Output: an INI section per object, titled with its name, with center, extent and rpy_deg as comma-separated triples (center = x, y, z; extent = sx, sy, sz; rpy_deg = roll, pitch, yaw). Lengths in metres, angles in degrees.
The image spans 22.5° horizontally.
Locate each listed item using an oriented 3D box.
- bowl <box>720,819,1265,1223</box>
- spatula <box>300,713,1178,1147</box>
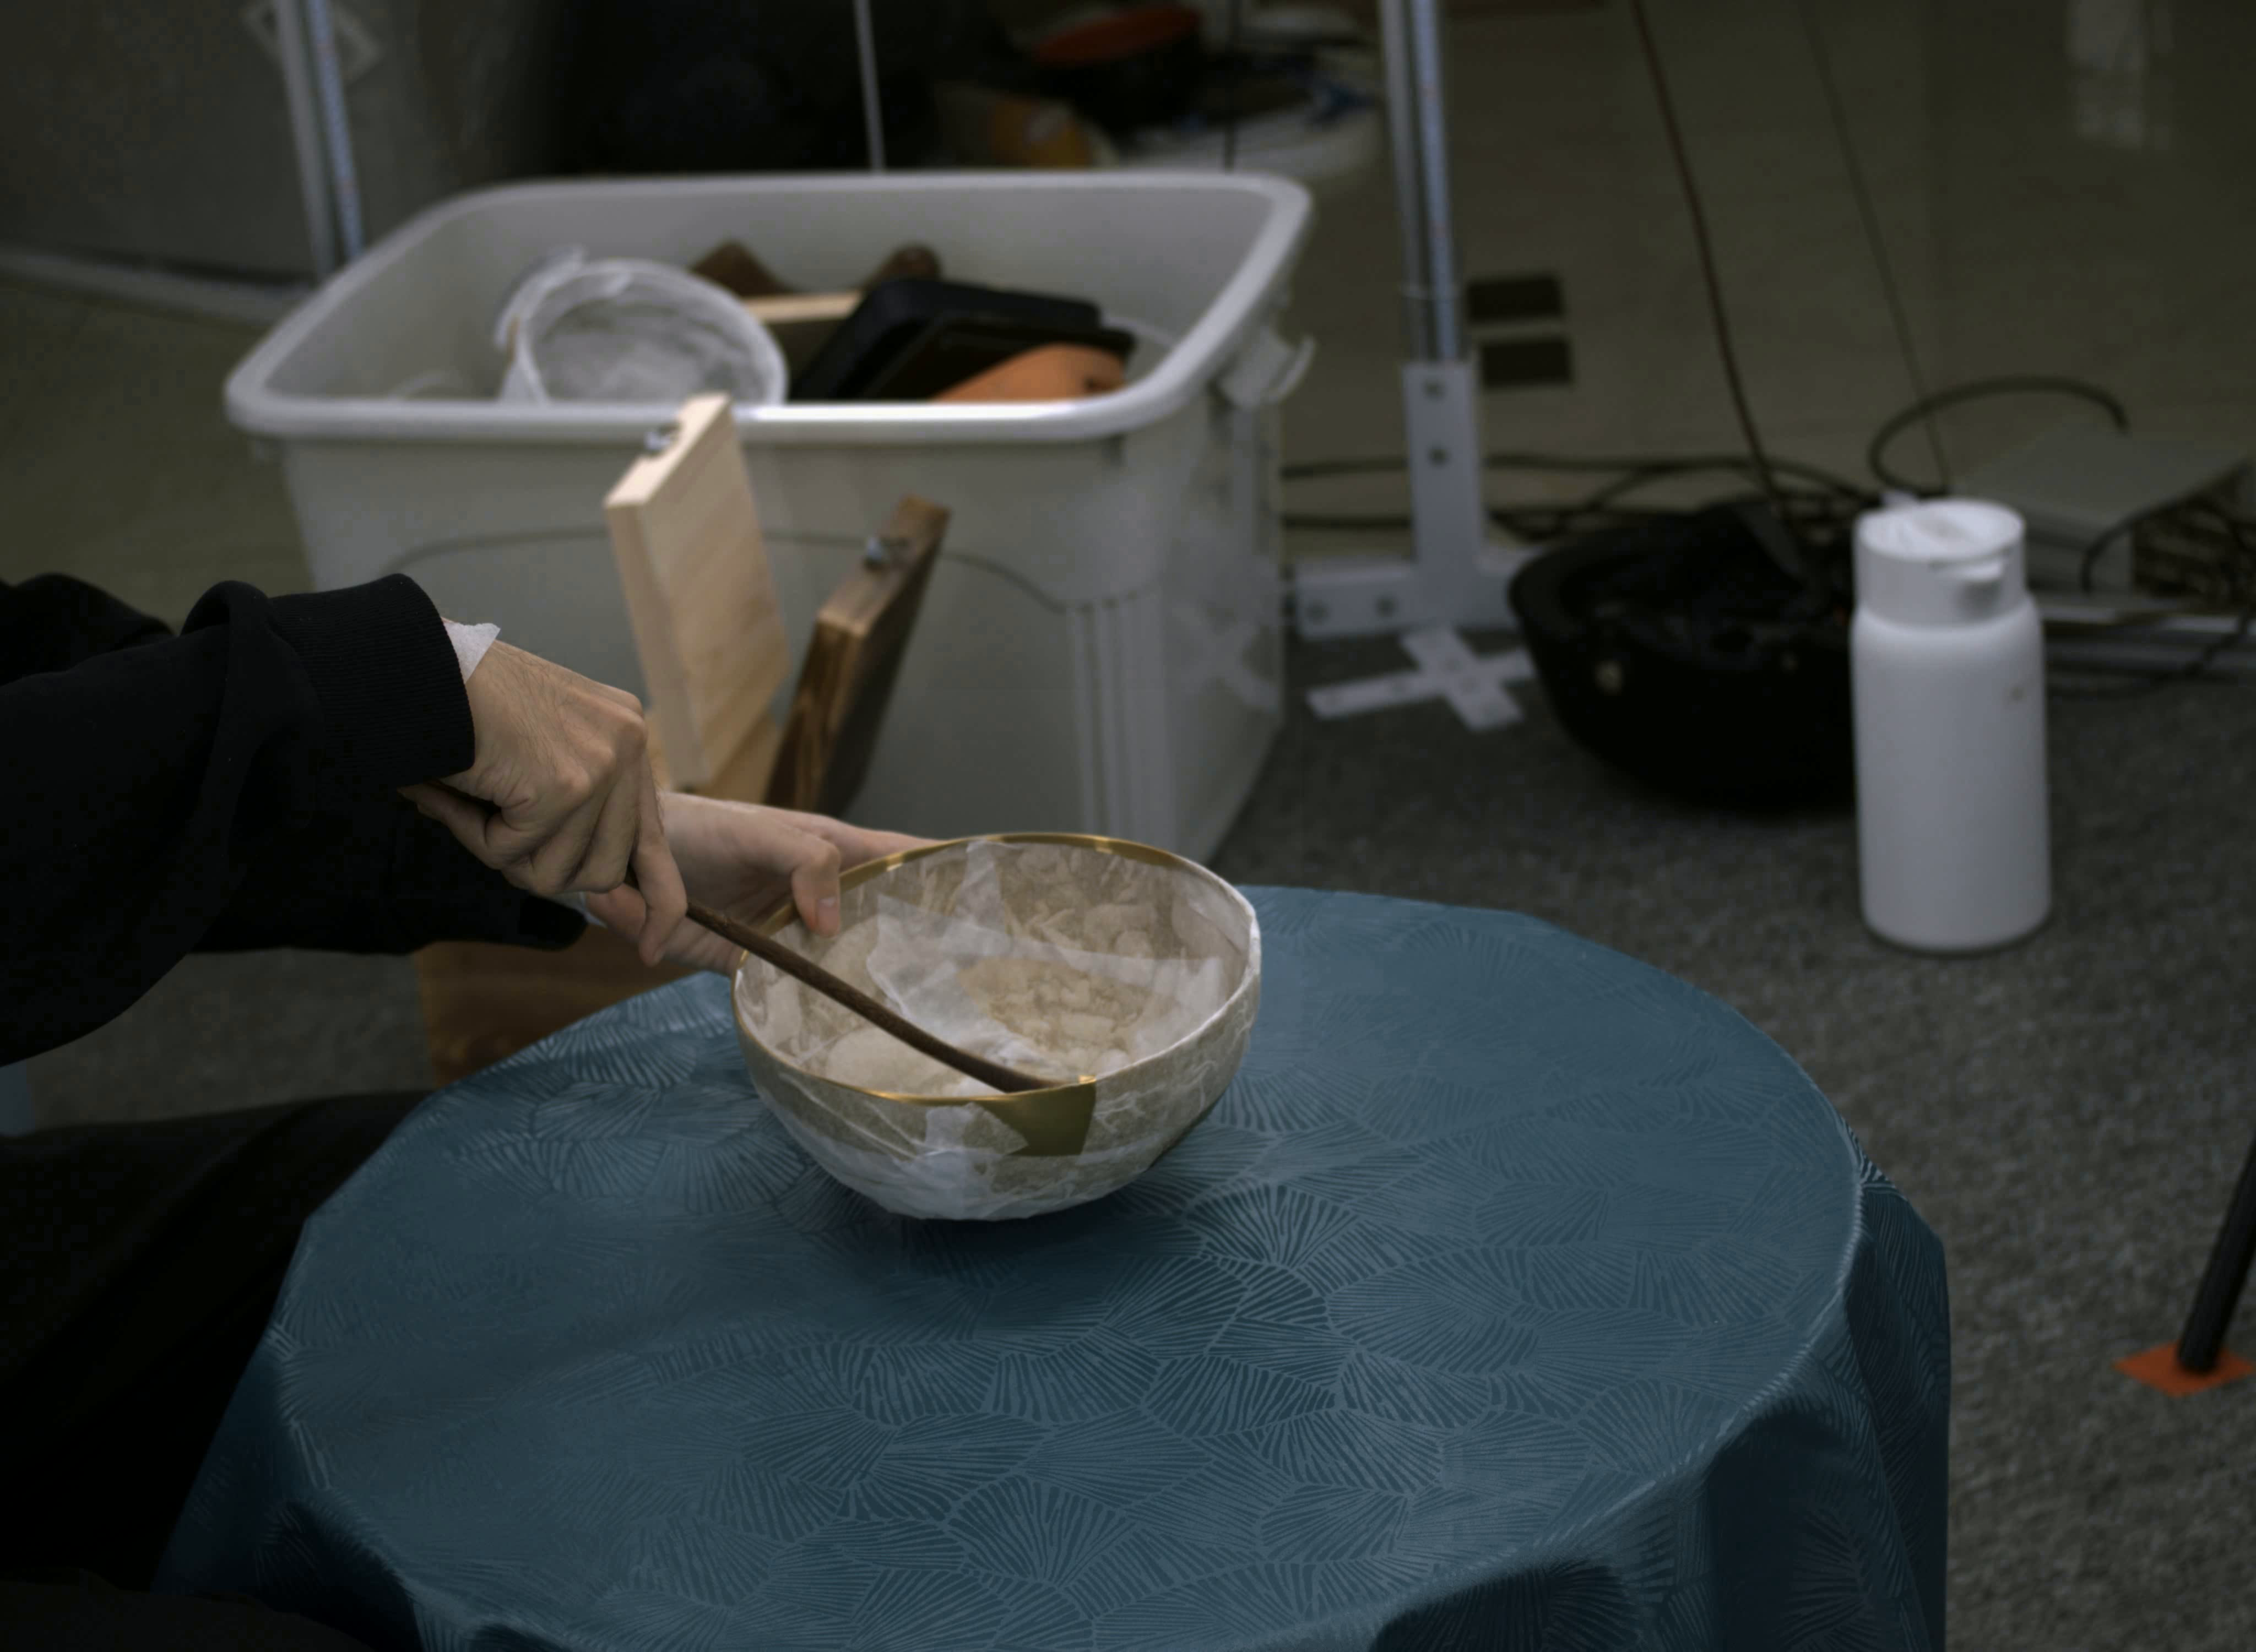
[bowl]
center = -0.048, 0.088, 2.158
extent = 0.214, 0.096, 0.211
rpy_deg = -6, 30, 4
[spatula]
center = -0.140, 0.040, 2.071
extent = 0.389, 0.016, 0.095
rpy_deg = 29, -5, -32
